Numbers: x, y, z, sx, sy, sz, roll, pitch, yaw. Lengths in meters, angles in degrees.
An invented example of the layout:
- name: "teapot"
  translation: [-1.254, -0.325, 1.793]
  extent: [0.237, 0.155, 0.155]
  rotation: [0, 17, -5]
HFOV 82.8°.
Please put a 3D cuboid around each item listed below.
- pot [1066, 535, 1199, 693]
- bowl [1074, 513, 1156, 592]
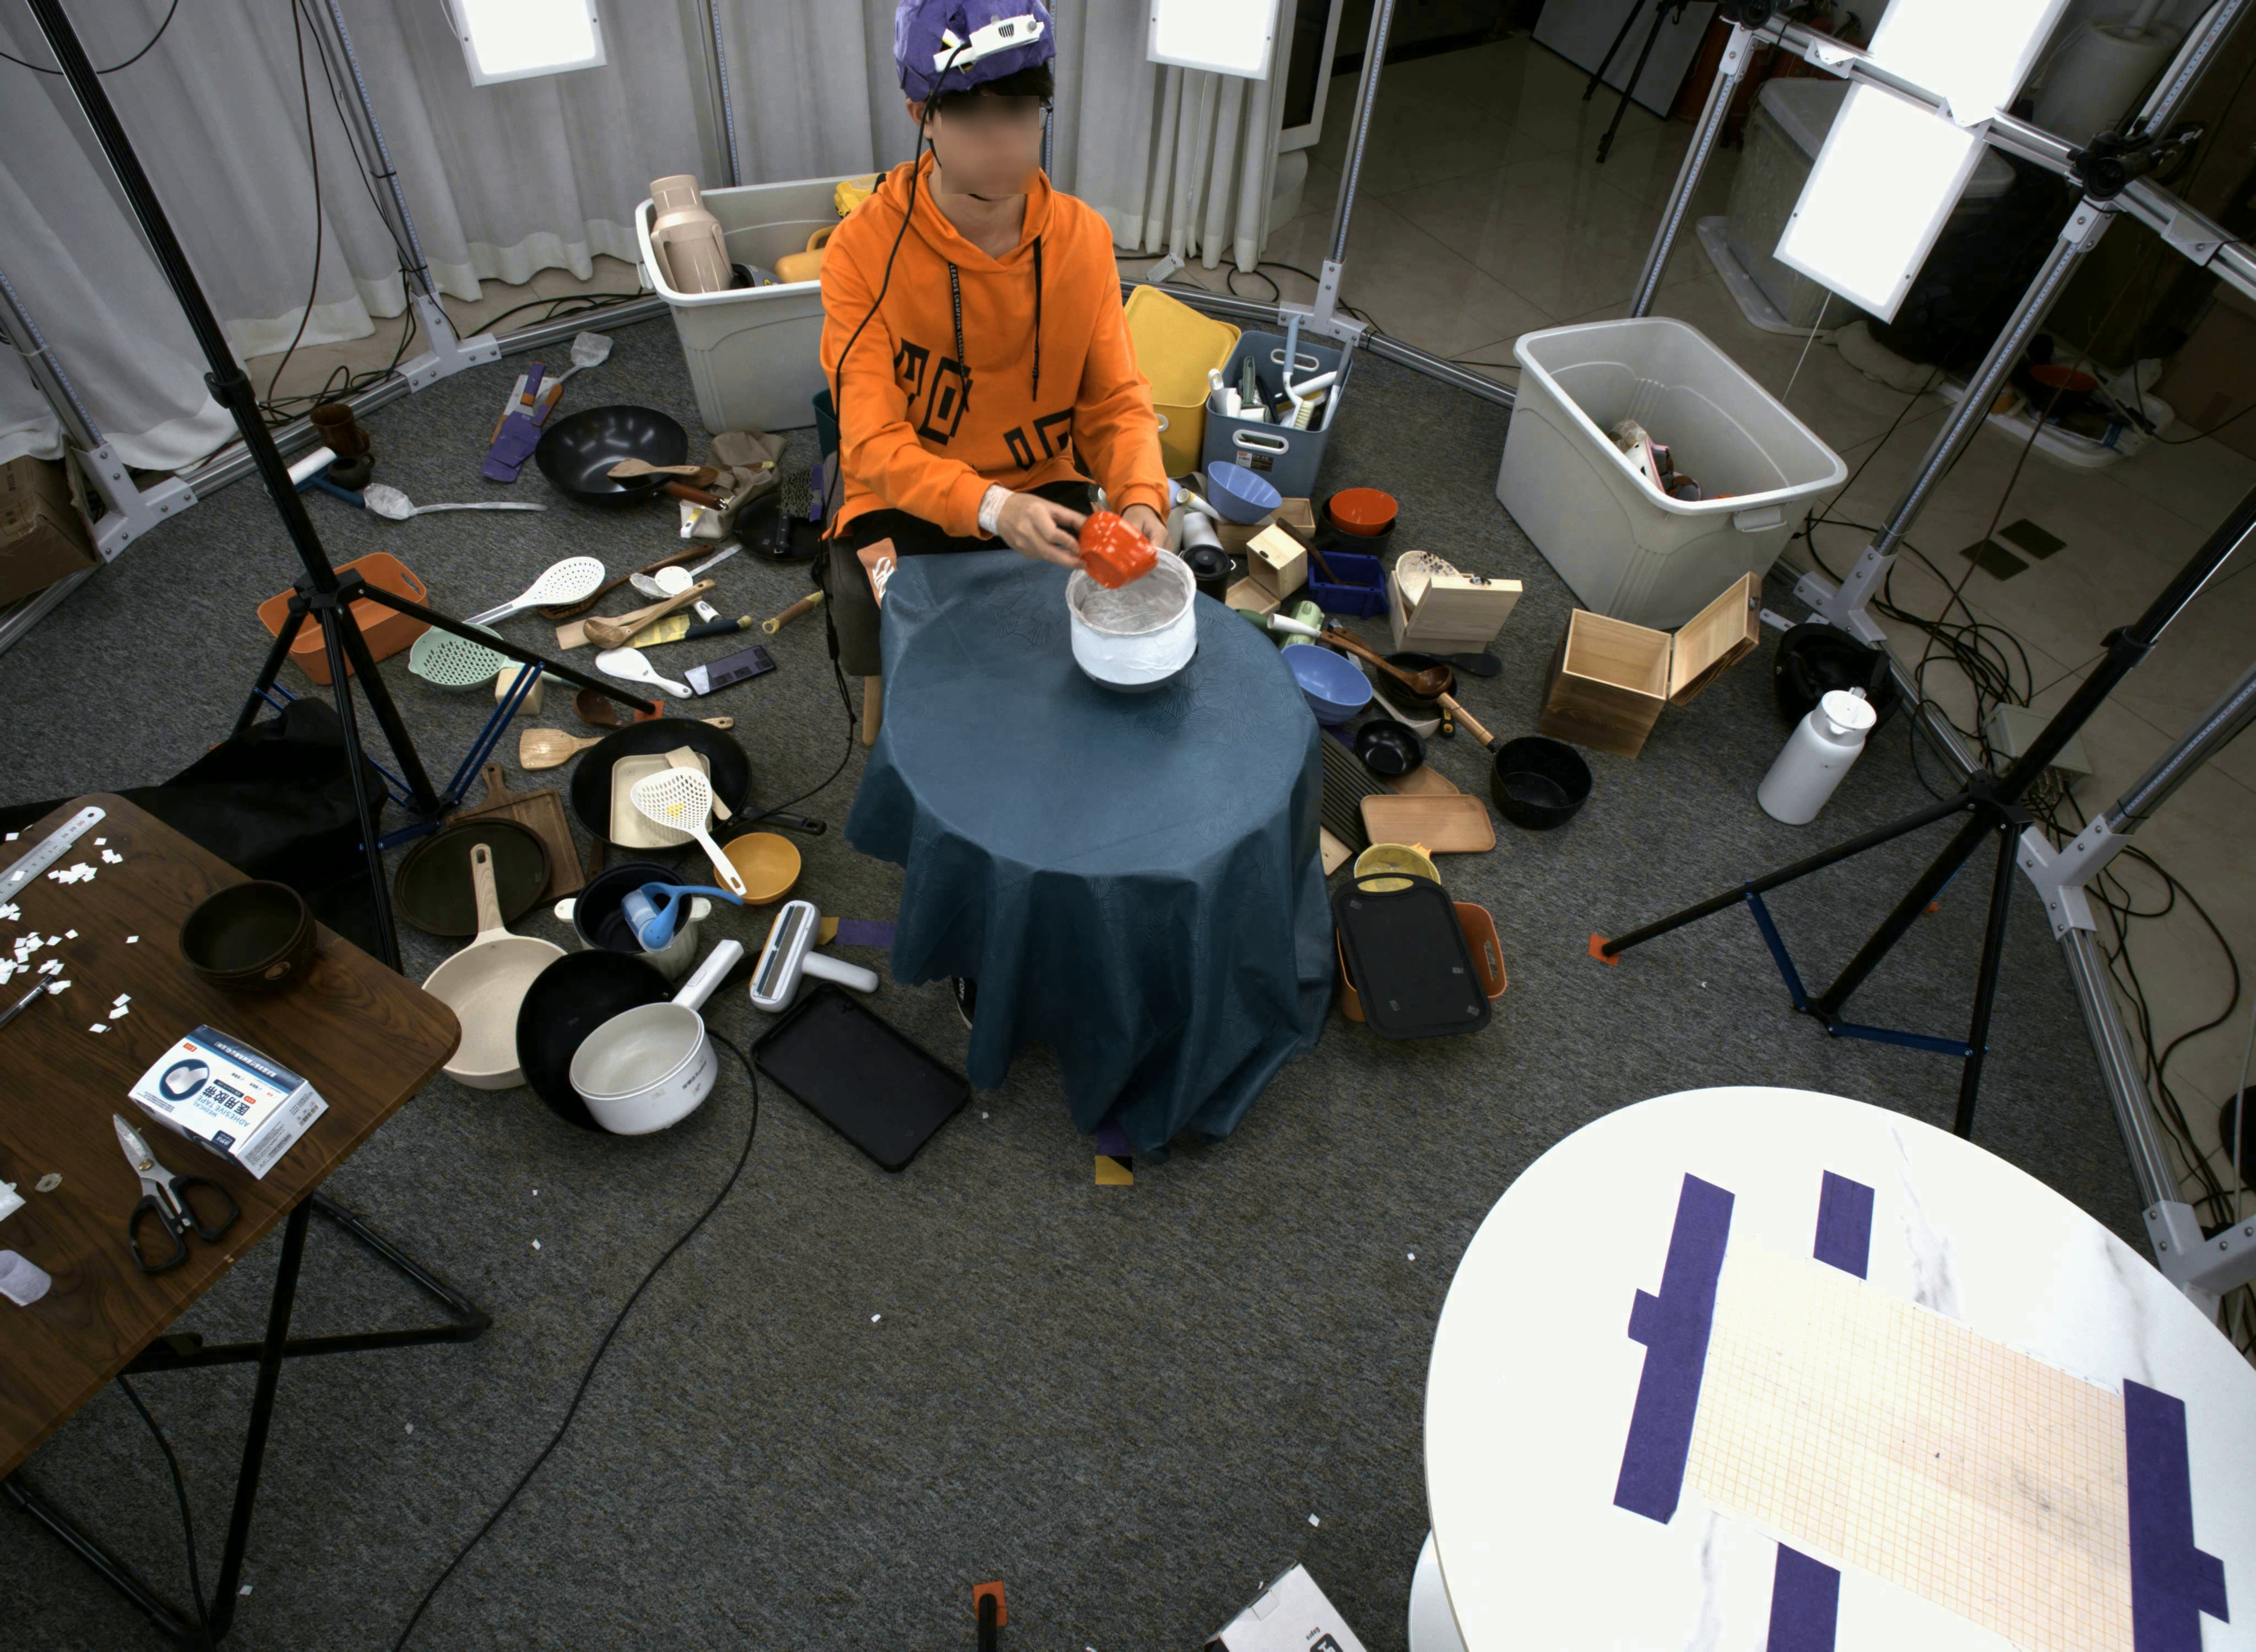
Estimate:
- name: "pot"
  translation: [0.011, -0.307, 1.806]
  extent: [0.179, 0.133, 0.239]
  rotation: [1, 52, 5]
- name: "bowl"
  translation: [-0.026, -0.348, 1.680]
  extent: [0.120, 0.116, 0.052]
  rotation: [27, 71, 18]
